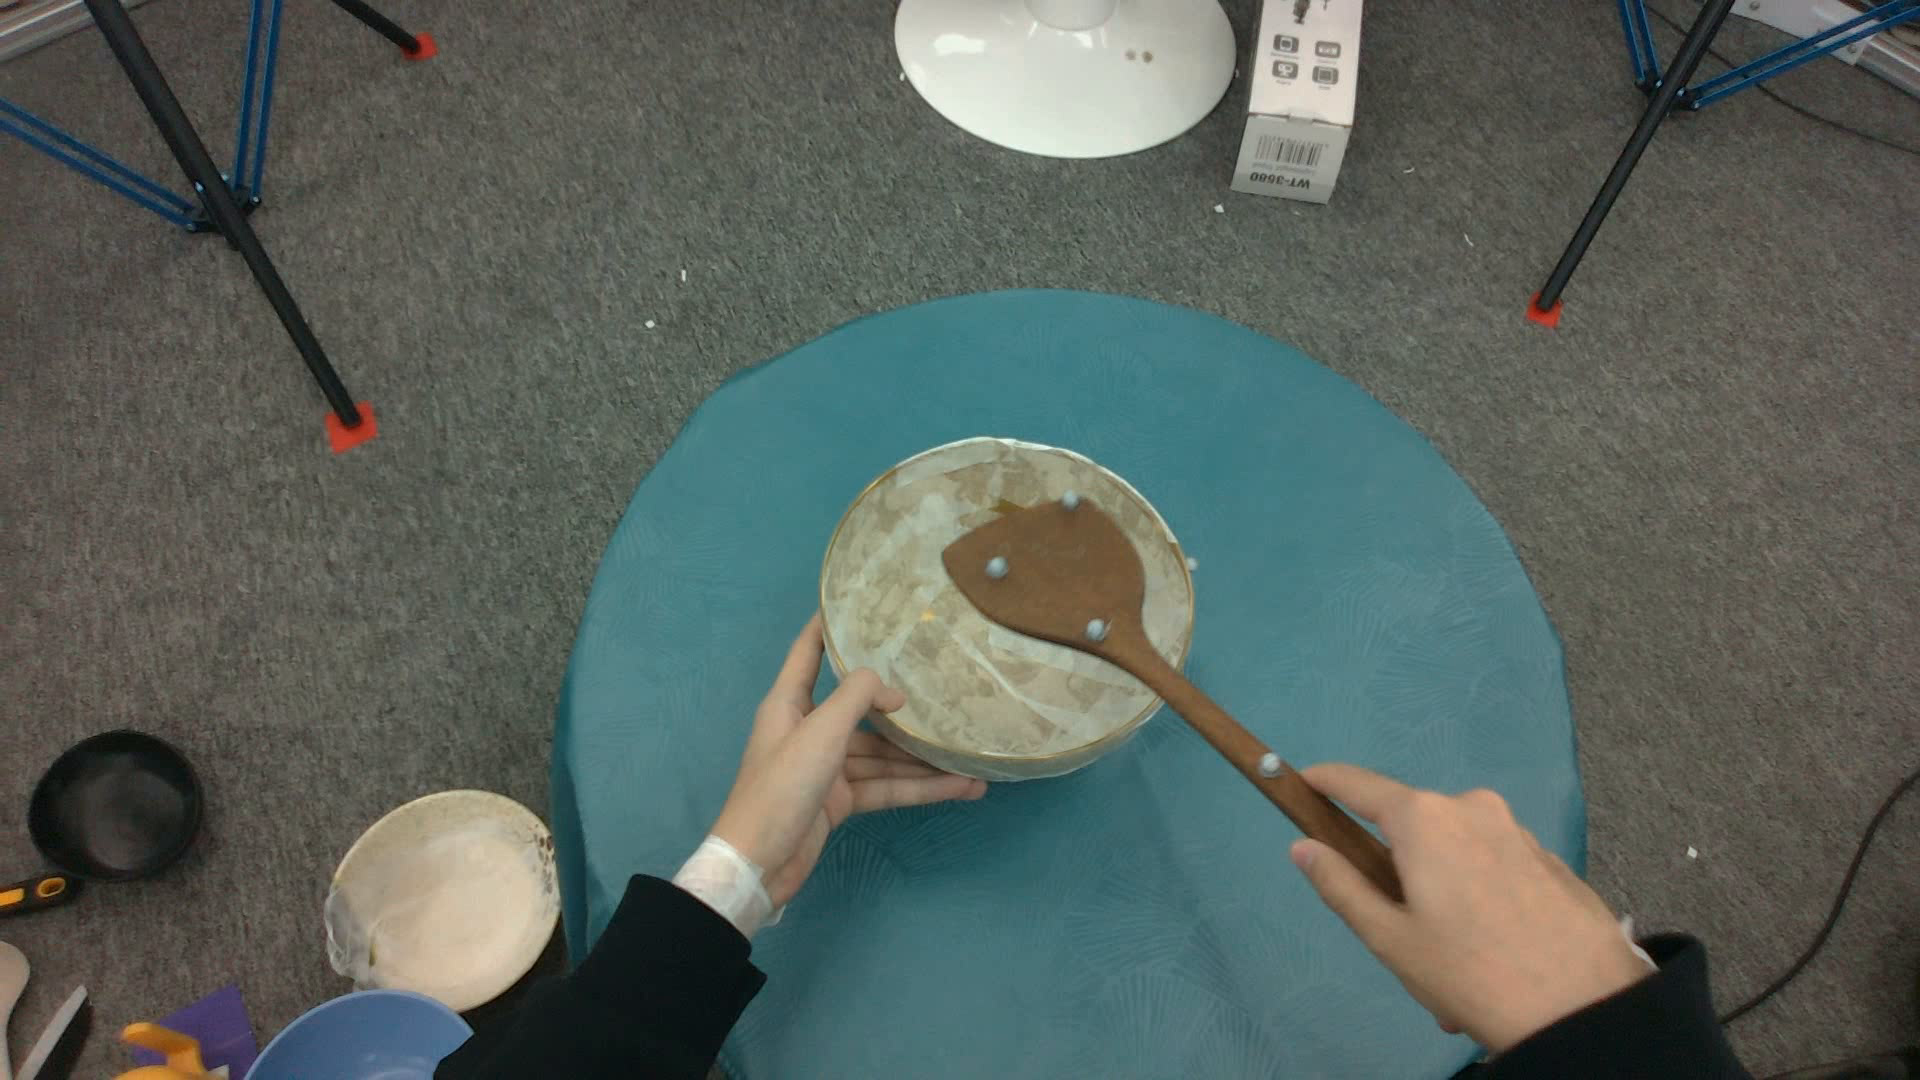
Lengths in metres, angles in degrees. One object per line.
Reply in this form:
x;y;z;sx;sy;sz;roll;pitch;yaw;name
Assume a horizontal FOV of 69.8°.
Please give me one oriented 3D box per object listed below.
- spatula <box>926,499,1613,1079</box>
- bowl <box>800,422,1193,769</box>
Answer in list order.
0.114;0.085;0.591;0.096;0.016;0.386;-21;40;-24;spatula
0.014;0.044;0.759;0.215;0.094;0.215;3;57;-5;bowl
